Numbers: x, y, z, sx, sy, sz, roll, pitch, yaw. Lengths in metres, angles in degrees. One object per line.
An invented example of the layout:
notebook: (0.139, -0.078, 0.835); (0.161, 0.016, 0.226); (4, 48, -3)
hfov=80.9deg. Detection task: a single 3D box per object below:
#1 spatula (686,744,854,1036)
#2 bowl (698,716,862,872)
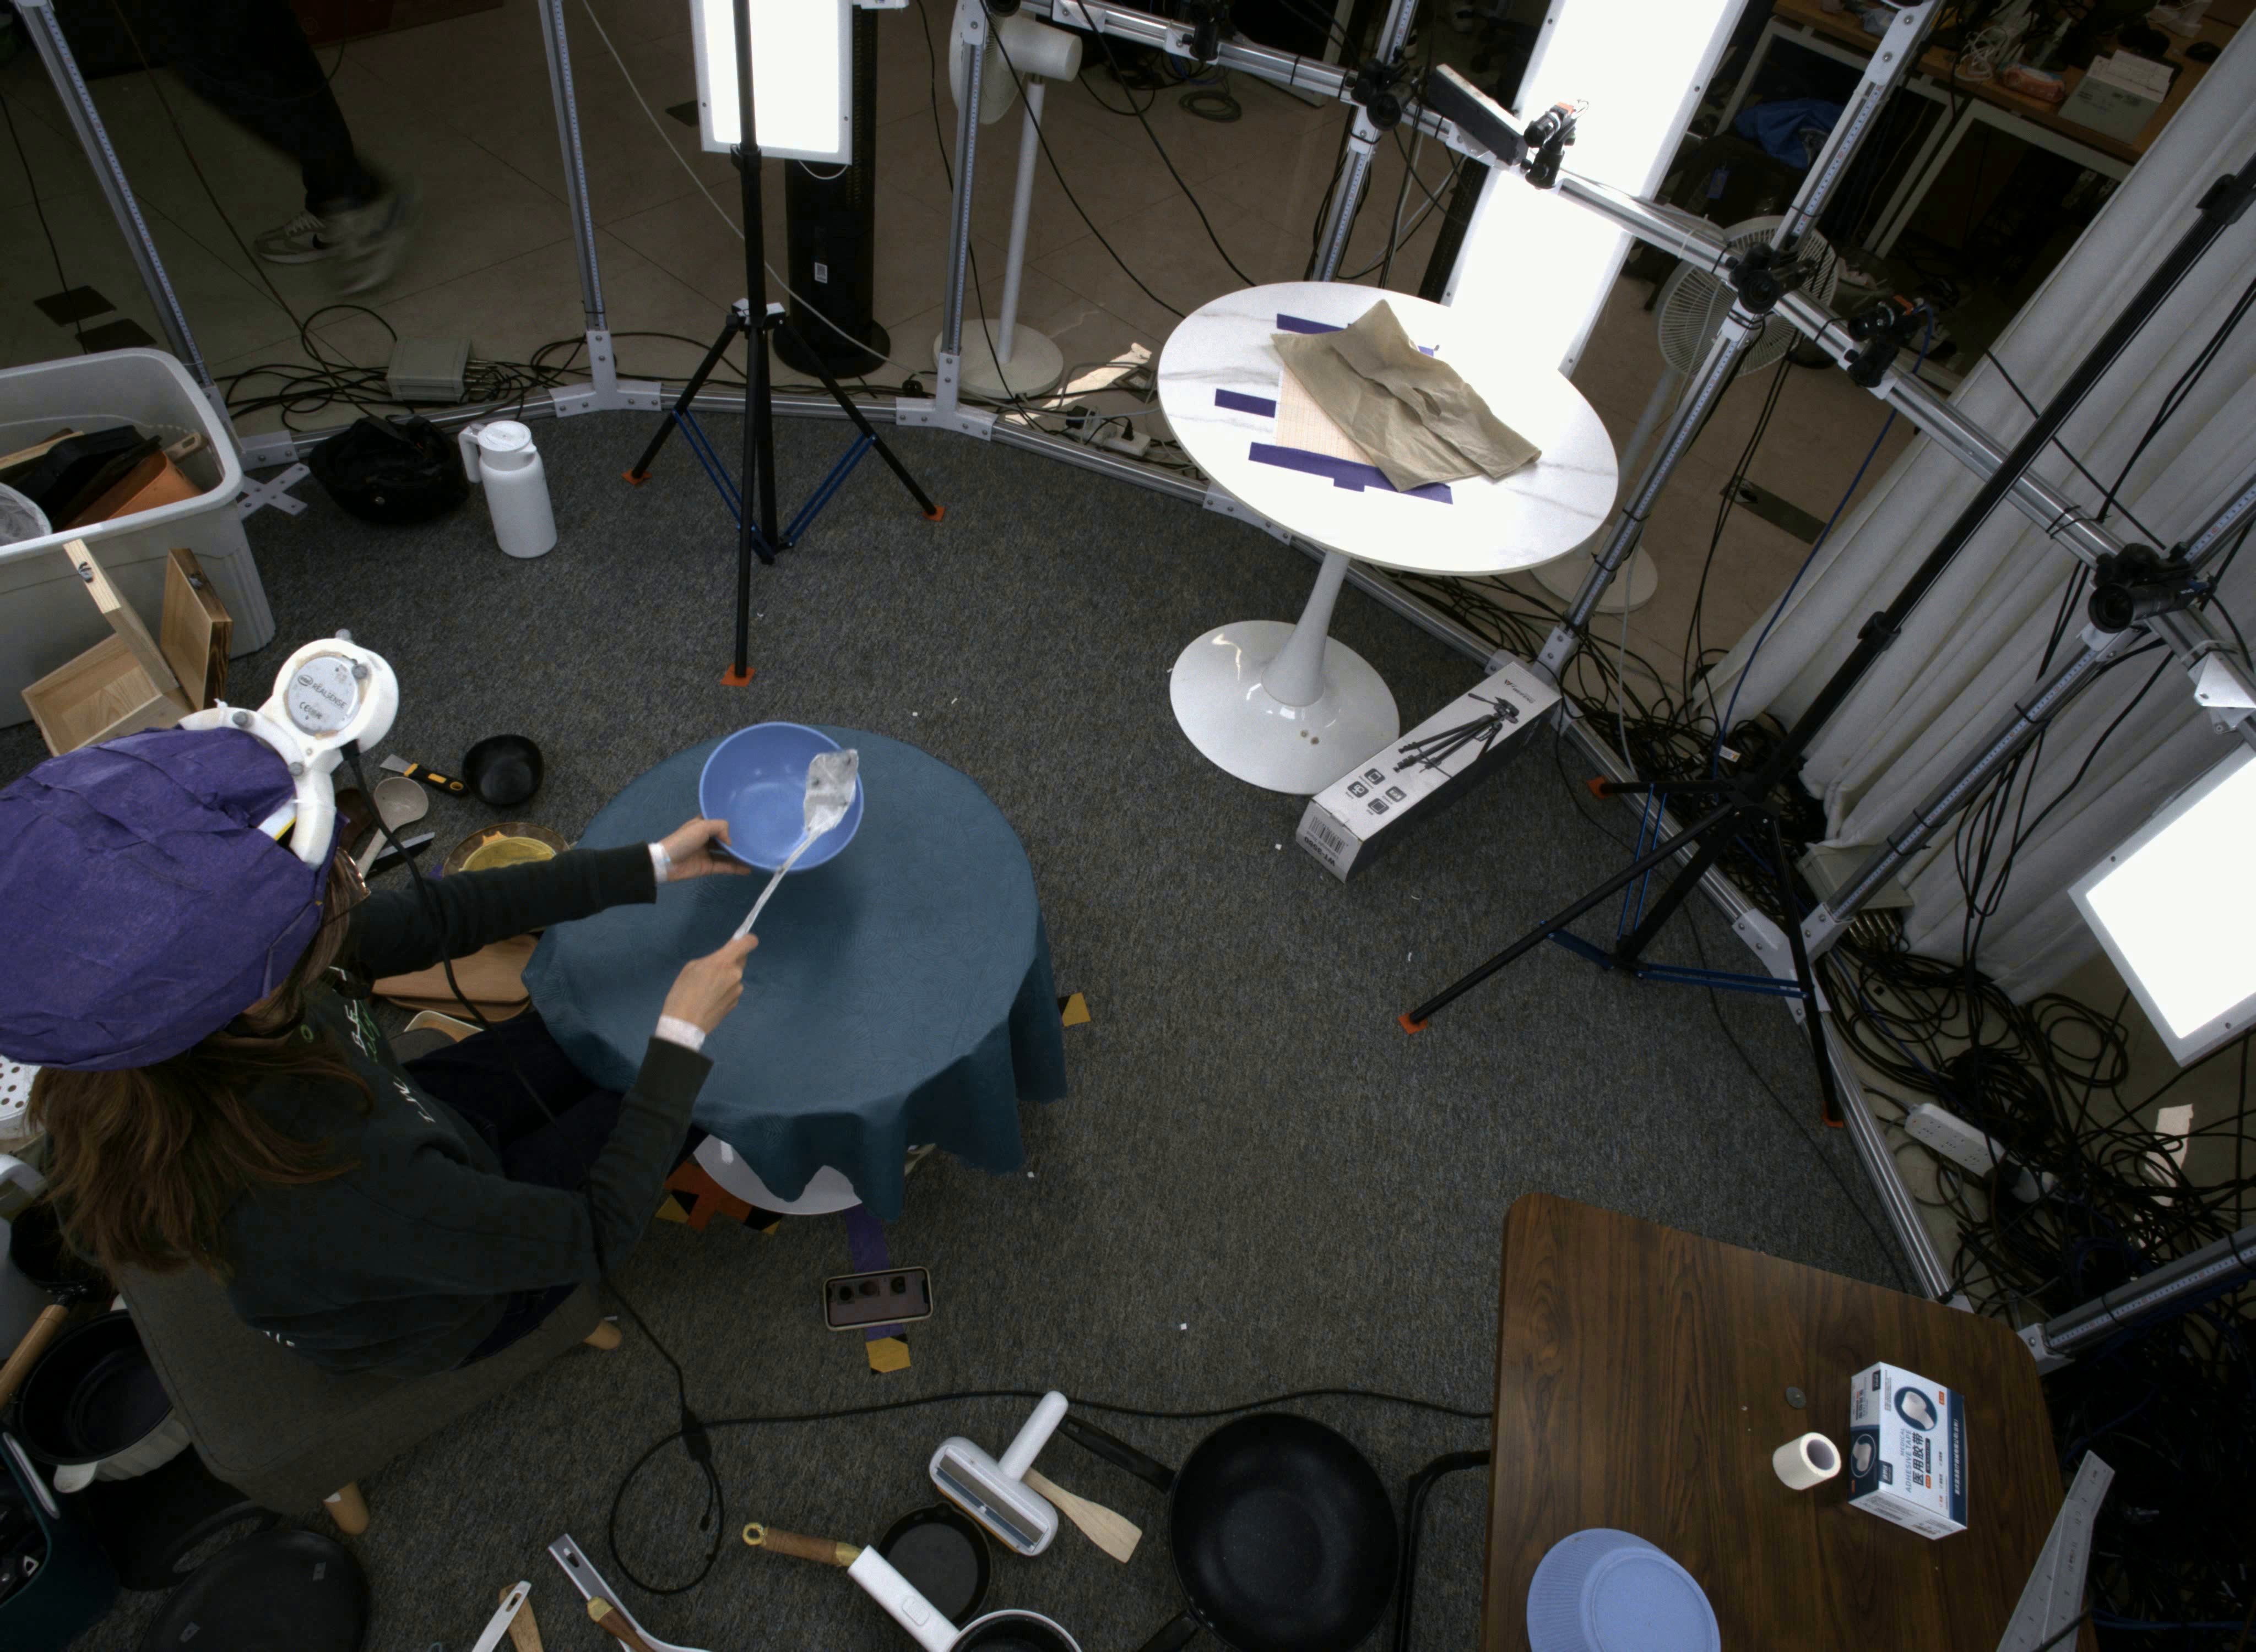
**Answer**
spatula: (-0.403, 0.063, 1.436); (0.095, 0.046, 0.363); (2, 55, 40)
bowl: (-0.436, -0.027, 1.610); (0.198, 0.095, 0.195); (10, 66, -20)
